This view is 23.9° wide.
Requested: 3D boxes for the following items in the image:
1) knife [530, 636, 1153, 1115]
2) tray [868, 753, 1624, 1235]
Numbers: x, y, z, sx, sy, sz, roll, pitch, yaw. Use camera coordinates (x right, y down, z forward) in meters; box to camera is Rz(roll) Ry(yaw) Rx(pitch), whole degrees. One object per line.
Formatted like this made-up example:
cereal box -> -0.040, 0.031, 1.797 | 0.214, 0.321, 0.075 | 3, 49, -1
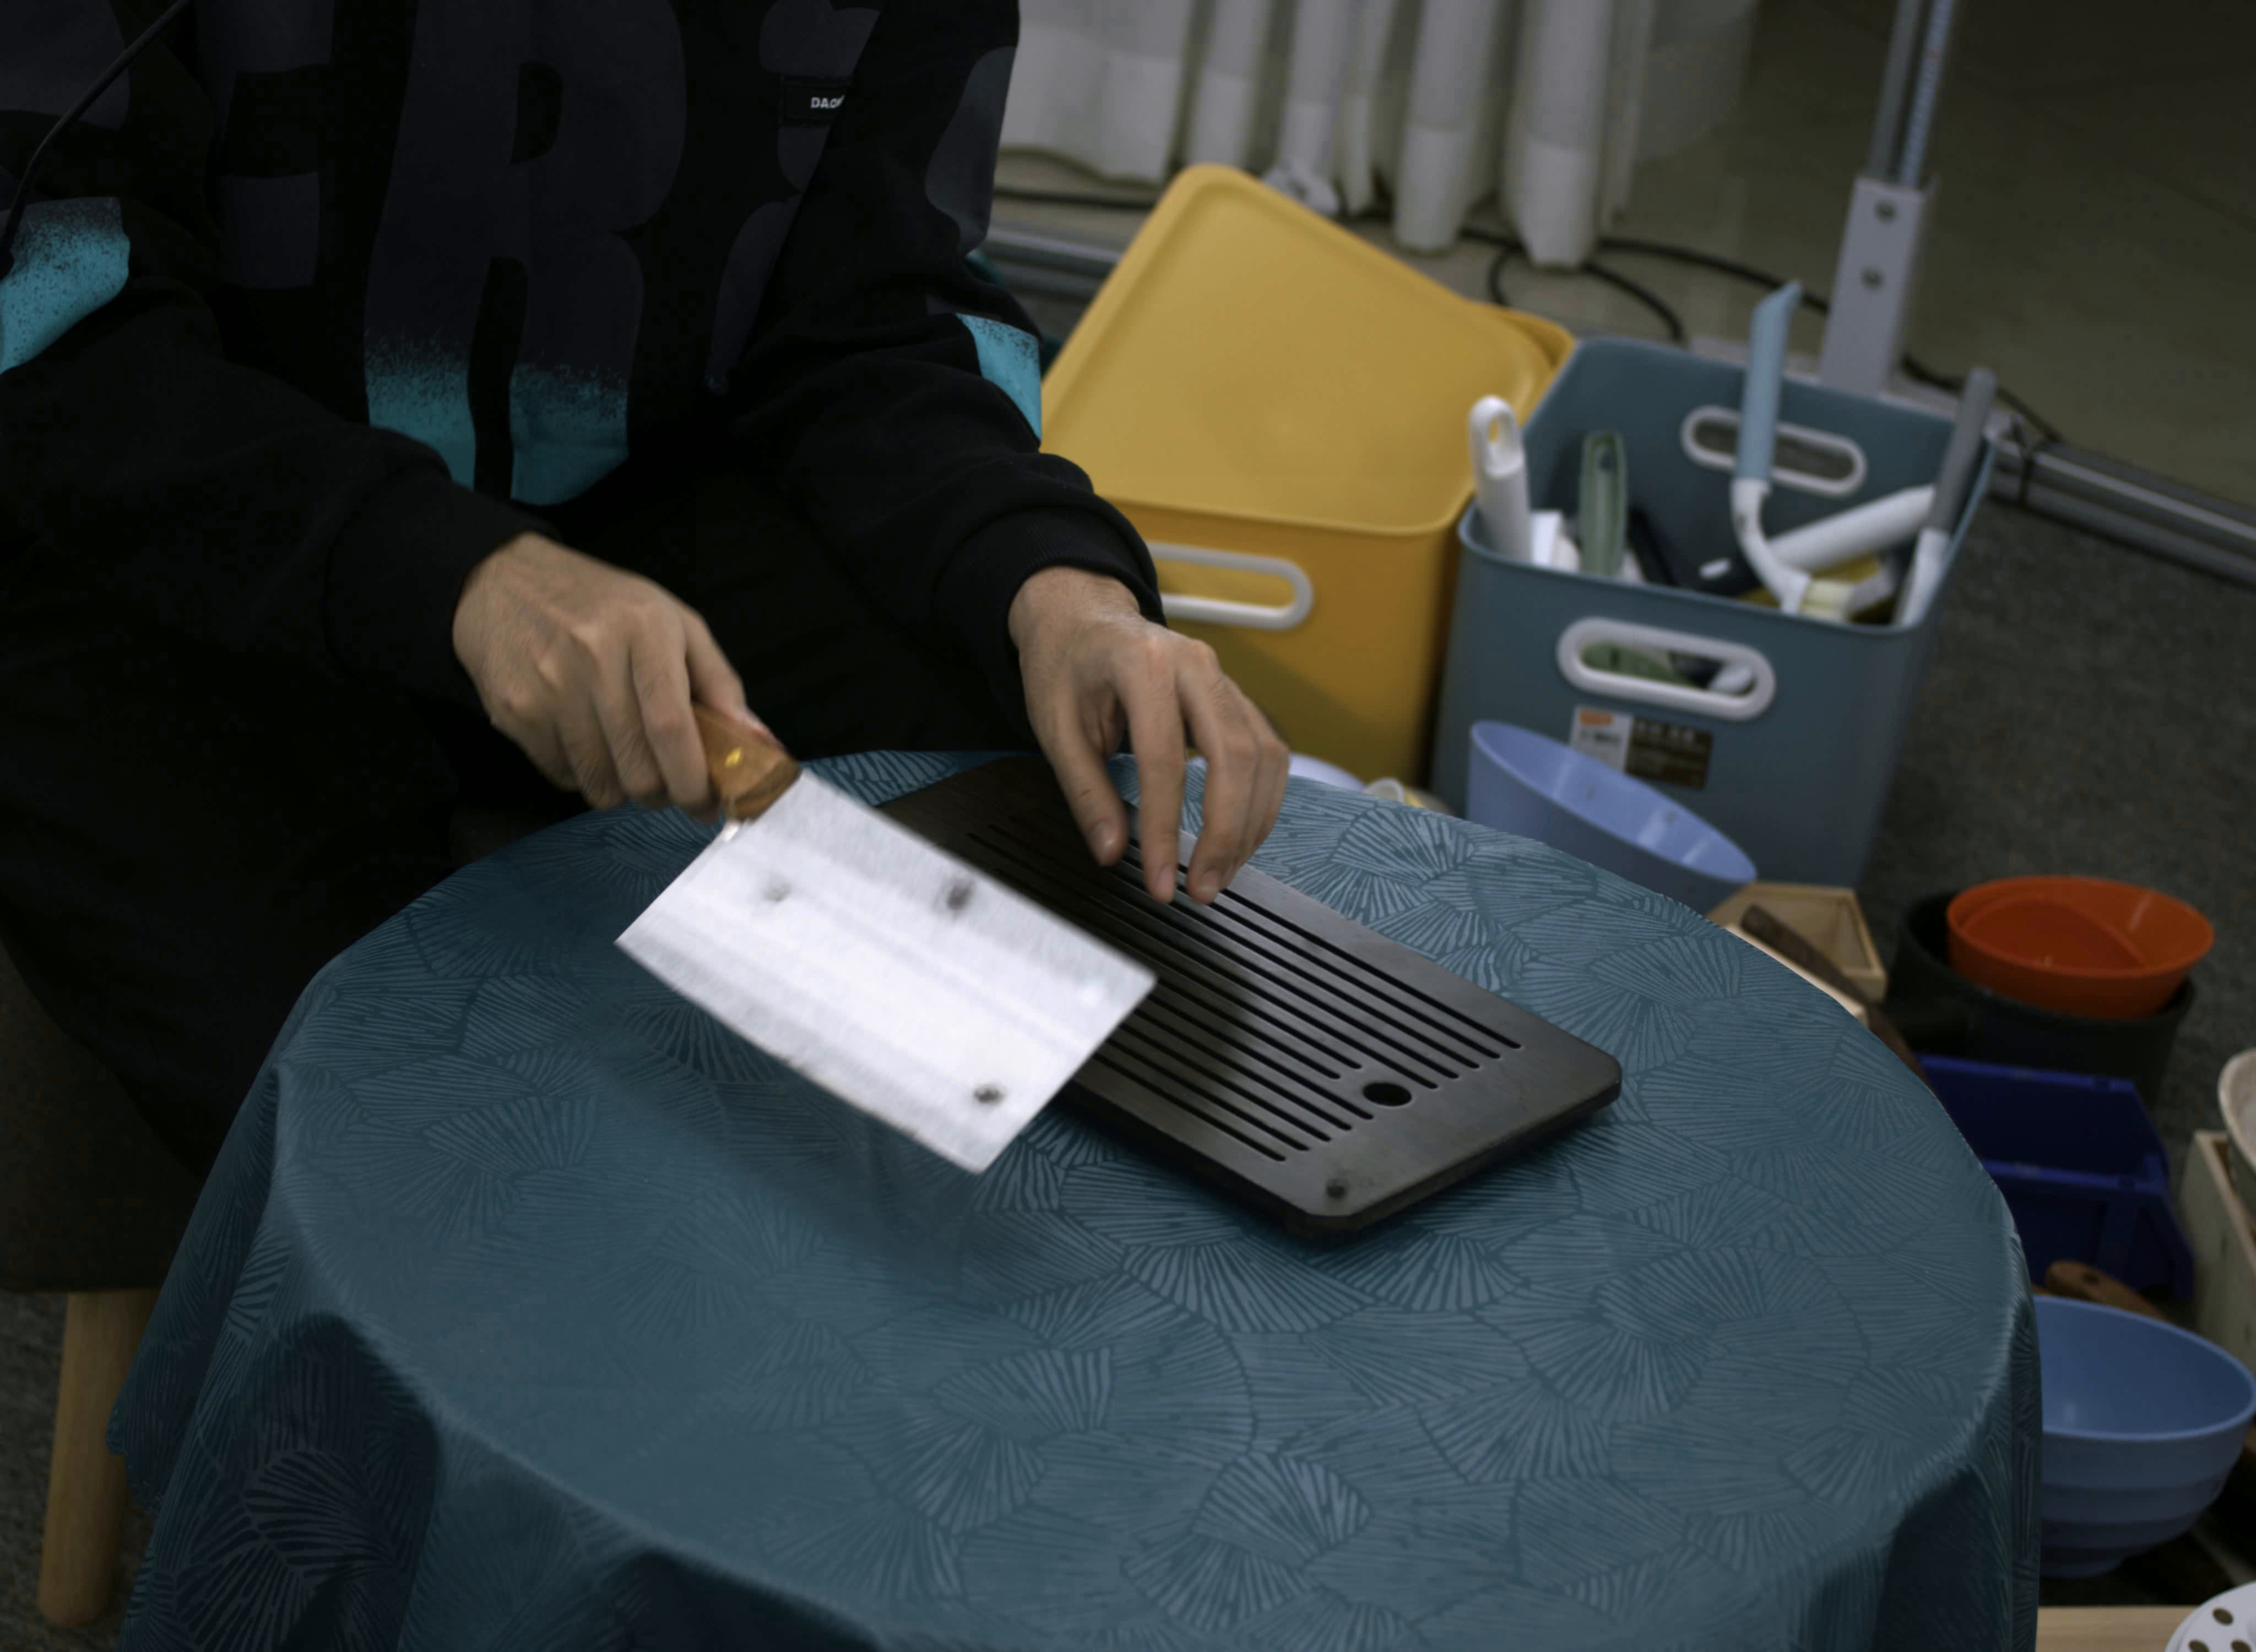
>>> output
knife -> -0.119, 0.018, 1.835 | 0.308, 0.021, 0.093 | 29, 71, 39
tray -> 0.014, 0.057, 1.916 | 0.308, 0.018, 0.169 | 28, 34, 36
